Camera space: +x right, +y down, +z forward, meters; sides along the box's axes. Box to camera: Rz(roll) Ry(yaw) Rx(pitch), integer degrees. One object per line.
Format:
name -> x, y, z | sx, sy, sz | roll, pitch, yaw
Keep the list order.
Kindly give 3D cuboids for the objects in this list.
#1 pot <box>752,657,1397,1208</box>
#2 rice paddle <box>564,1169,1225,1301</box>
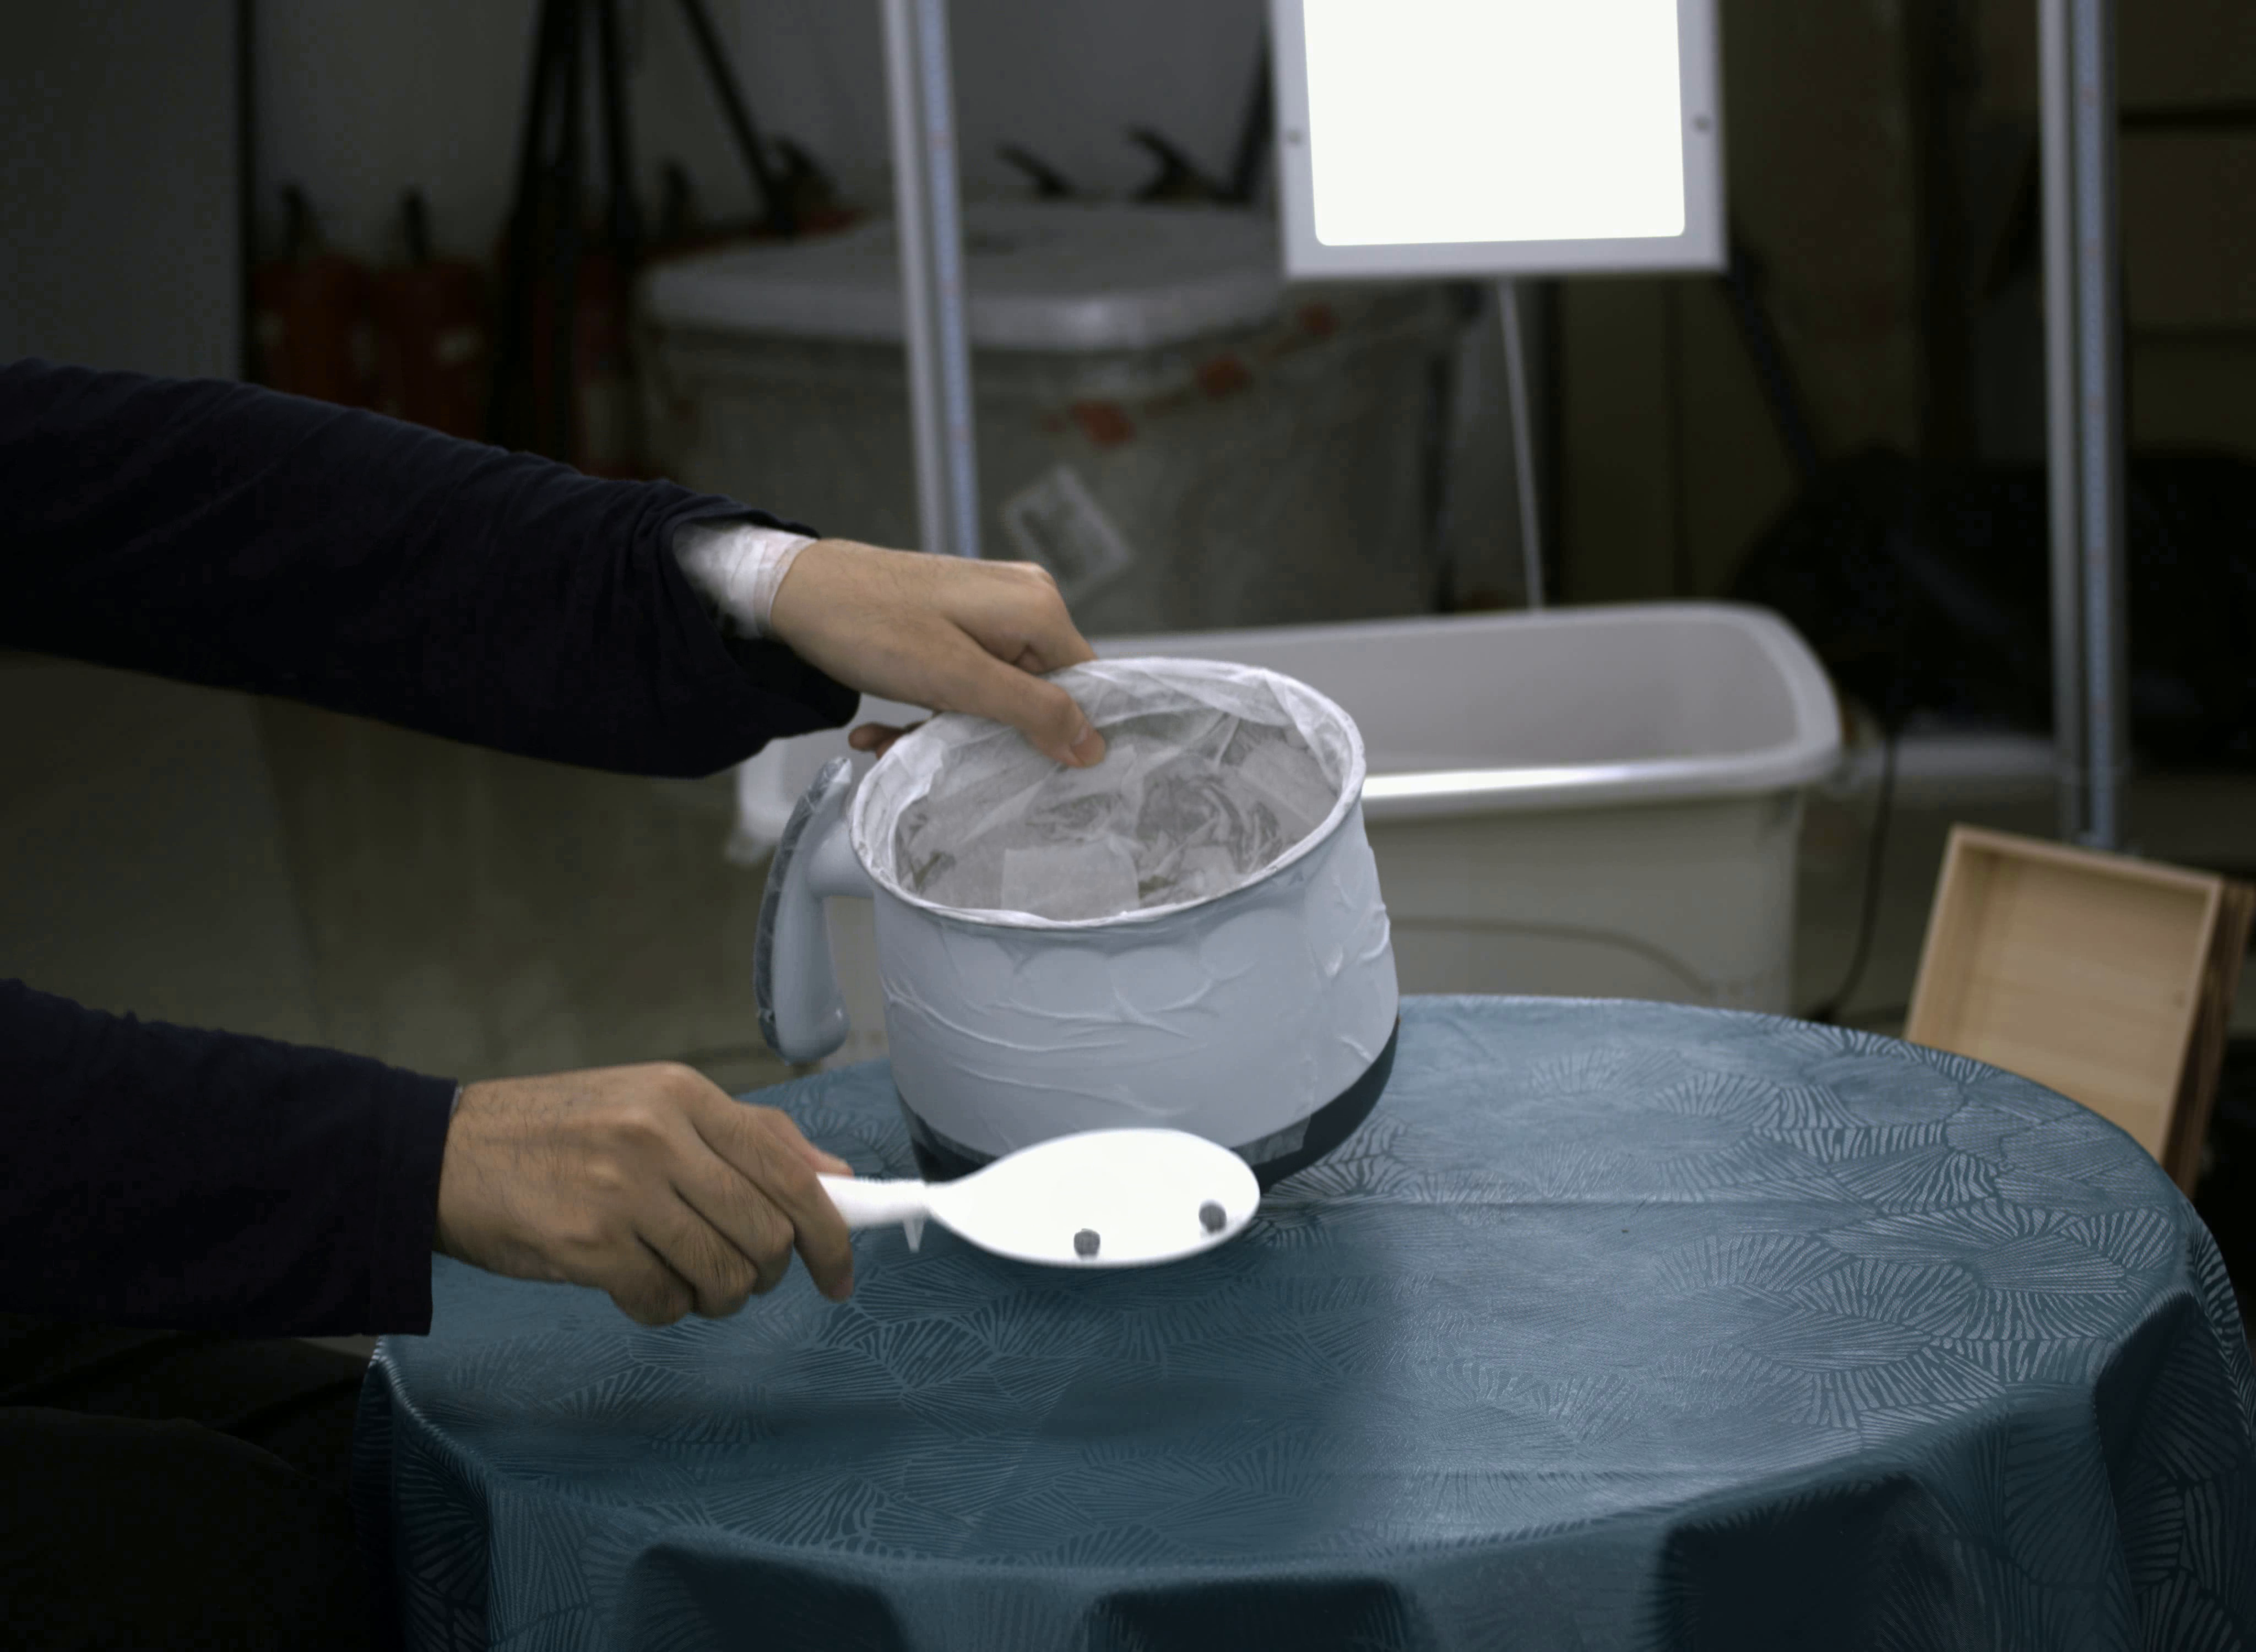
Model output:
pot -> -0.024, 0.038, 1.894 | 0.237, 0.137, 0.176 | 3, 30, 21
rice paddle -> -0.072, 0.125, 1.703 | 0.206, 0.029, 0.068 | 2, 27, 8
